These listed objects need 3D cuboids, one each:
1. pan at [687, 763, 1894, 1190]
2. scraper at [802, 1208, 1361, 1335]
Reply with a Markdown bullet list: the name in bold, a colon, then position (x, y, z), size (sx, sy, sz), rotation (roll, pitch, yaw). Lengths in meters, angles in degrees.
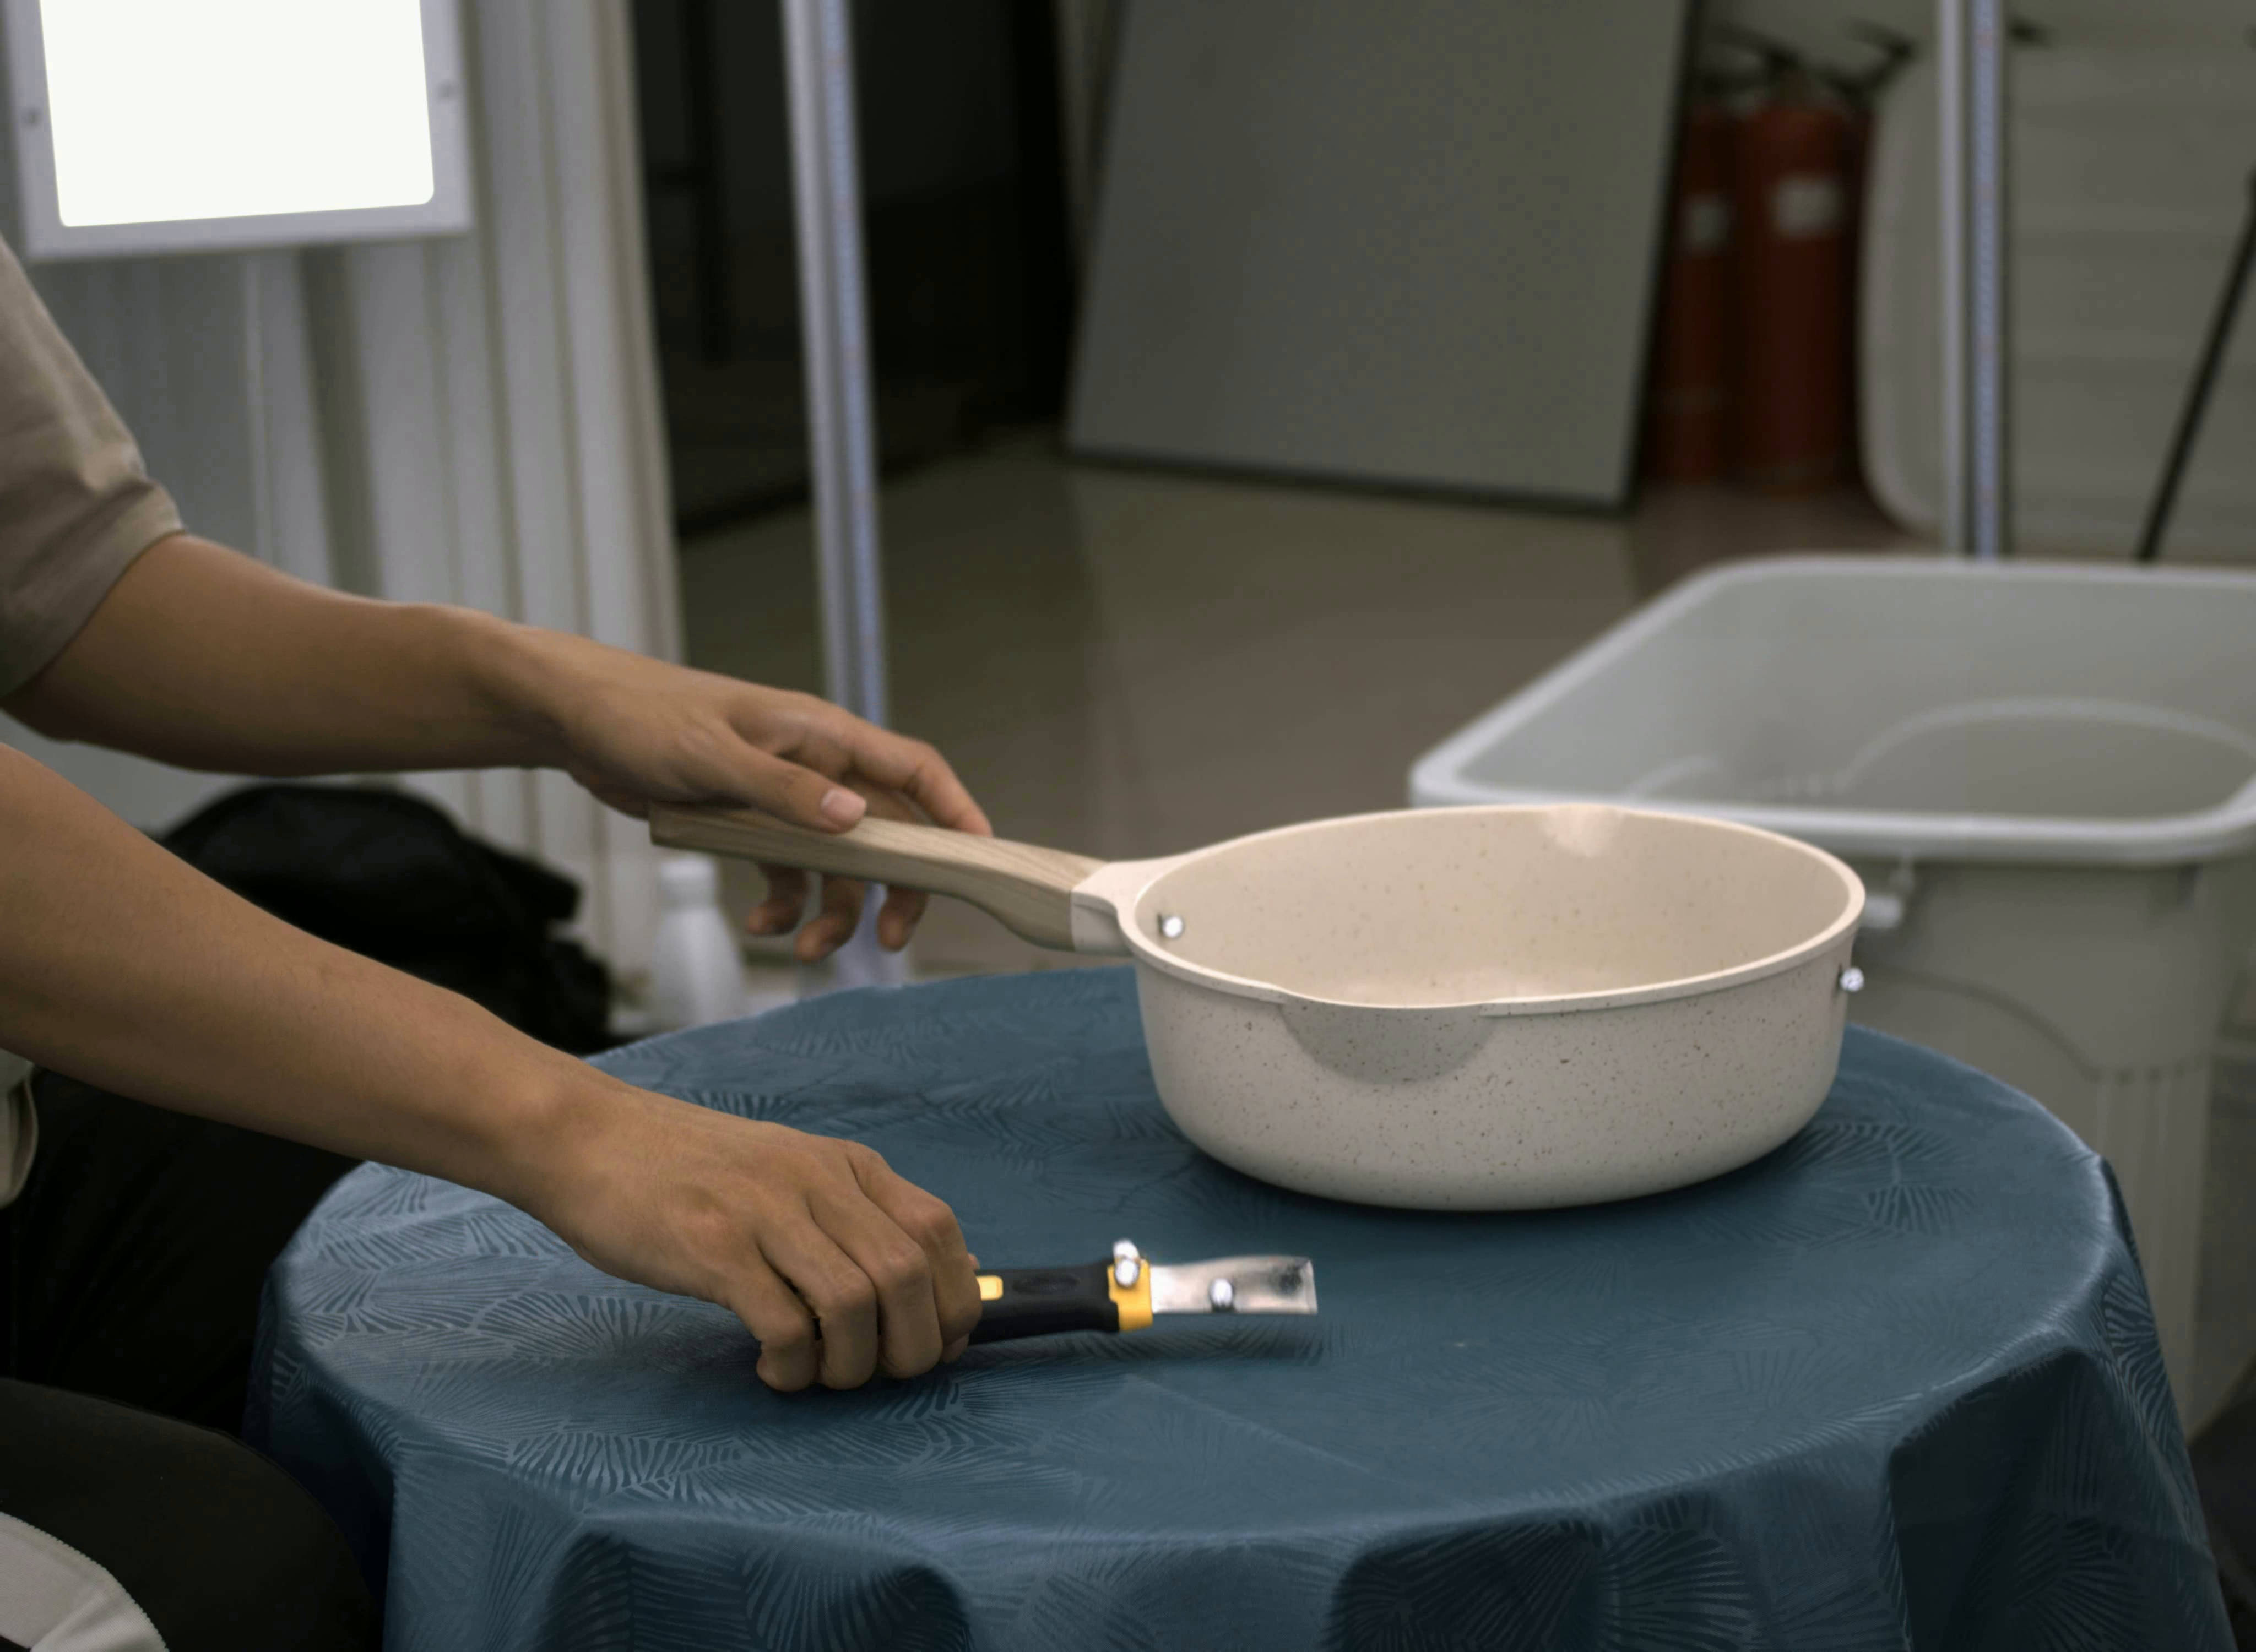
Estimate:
- **pan**: position (0.051, 0.043, 1.859), size (0.434, 0.103, 0.261), rotation (1, 17, 22)
- **scraper**: position (-0.014, 0.135, 1.630), size (0.168, 0.015, 0.039), rotation (-4, 35, -1)
